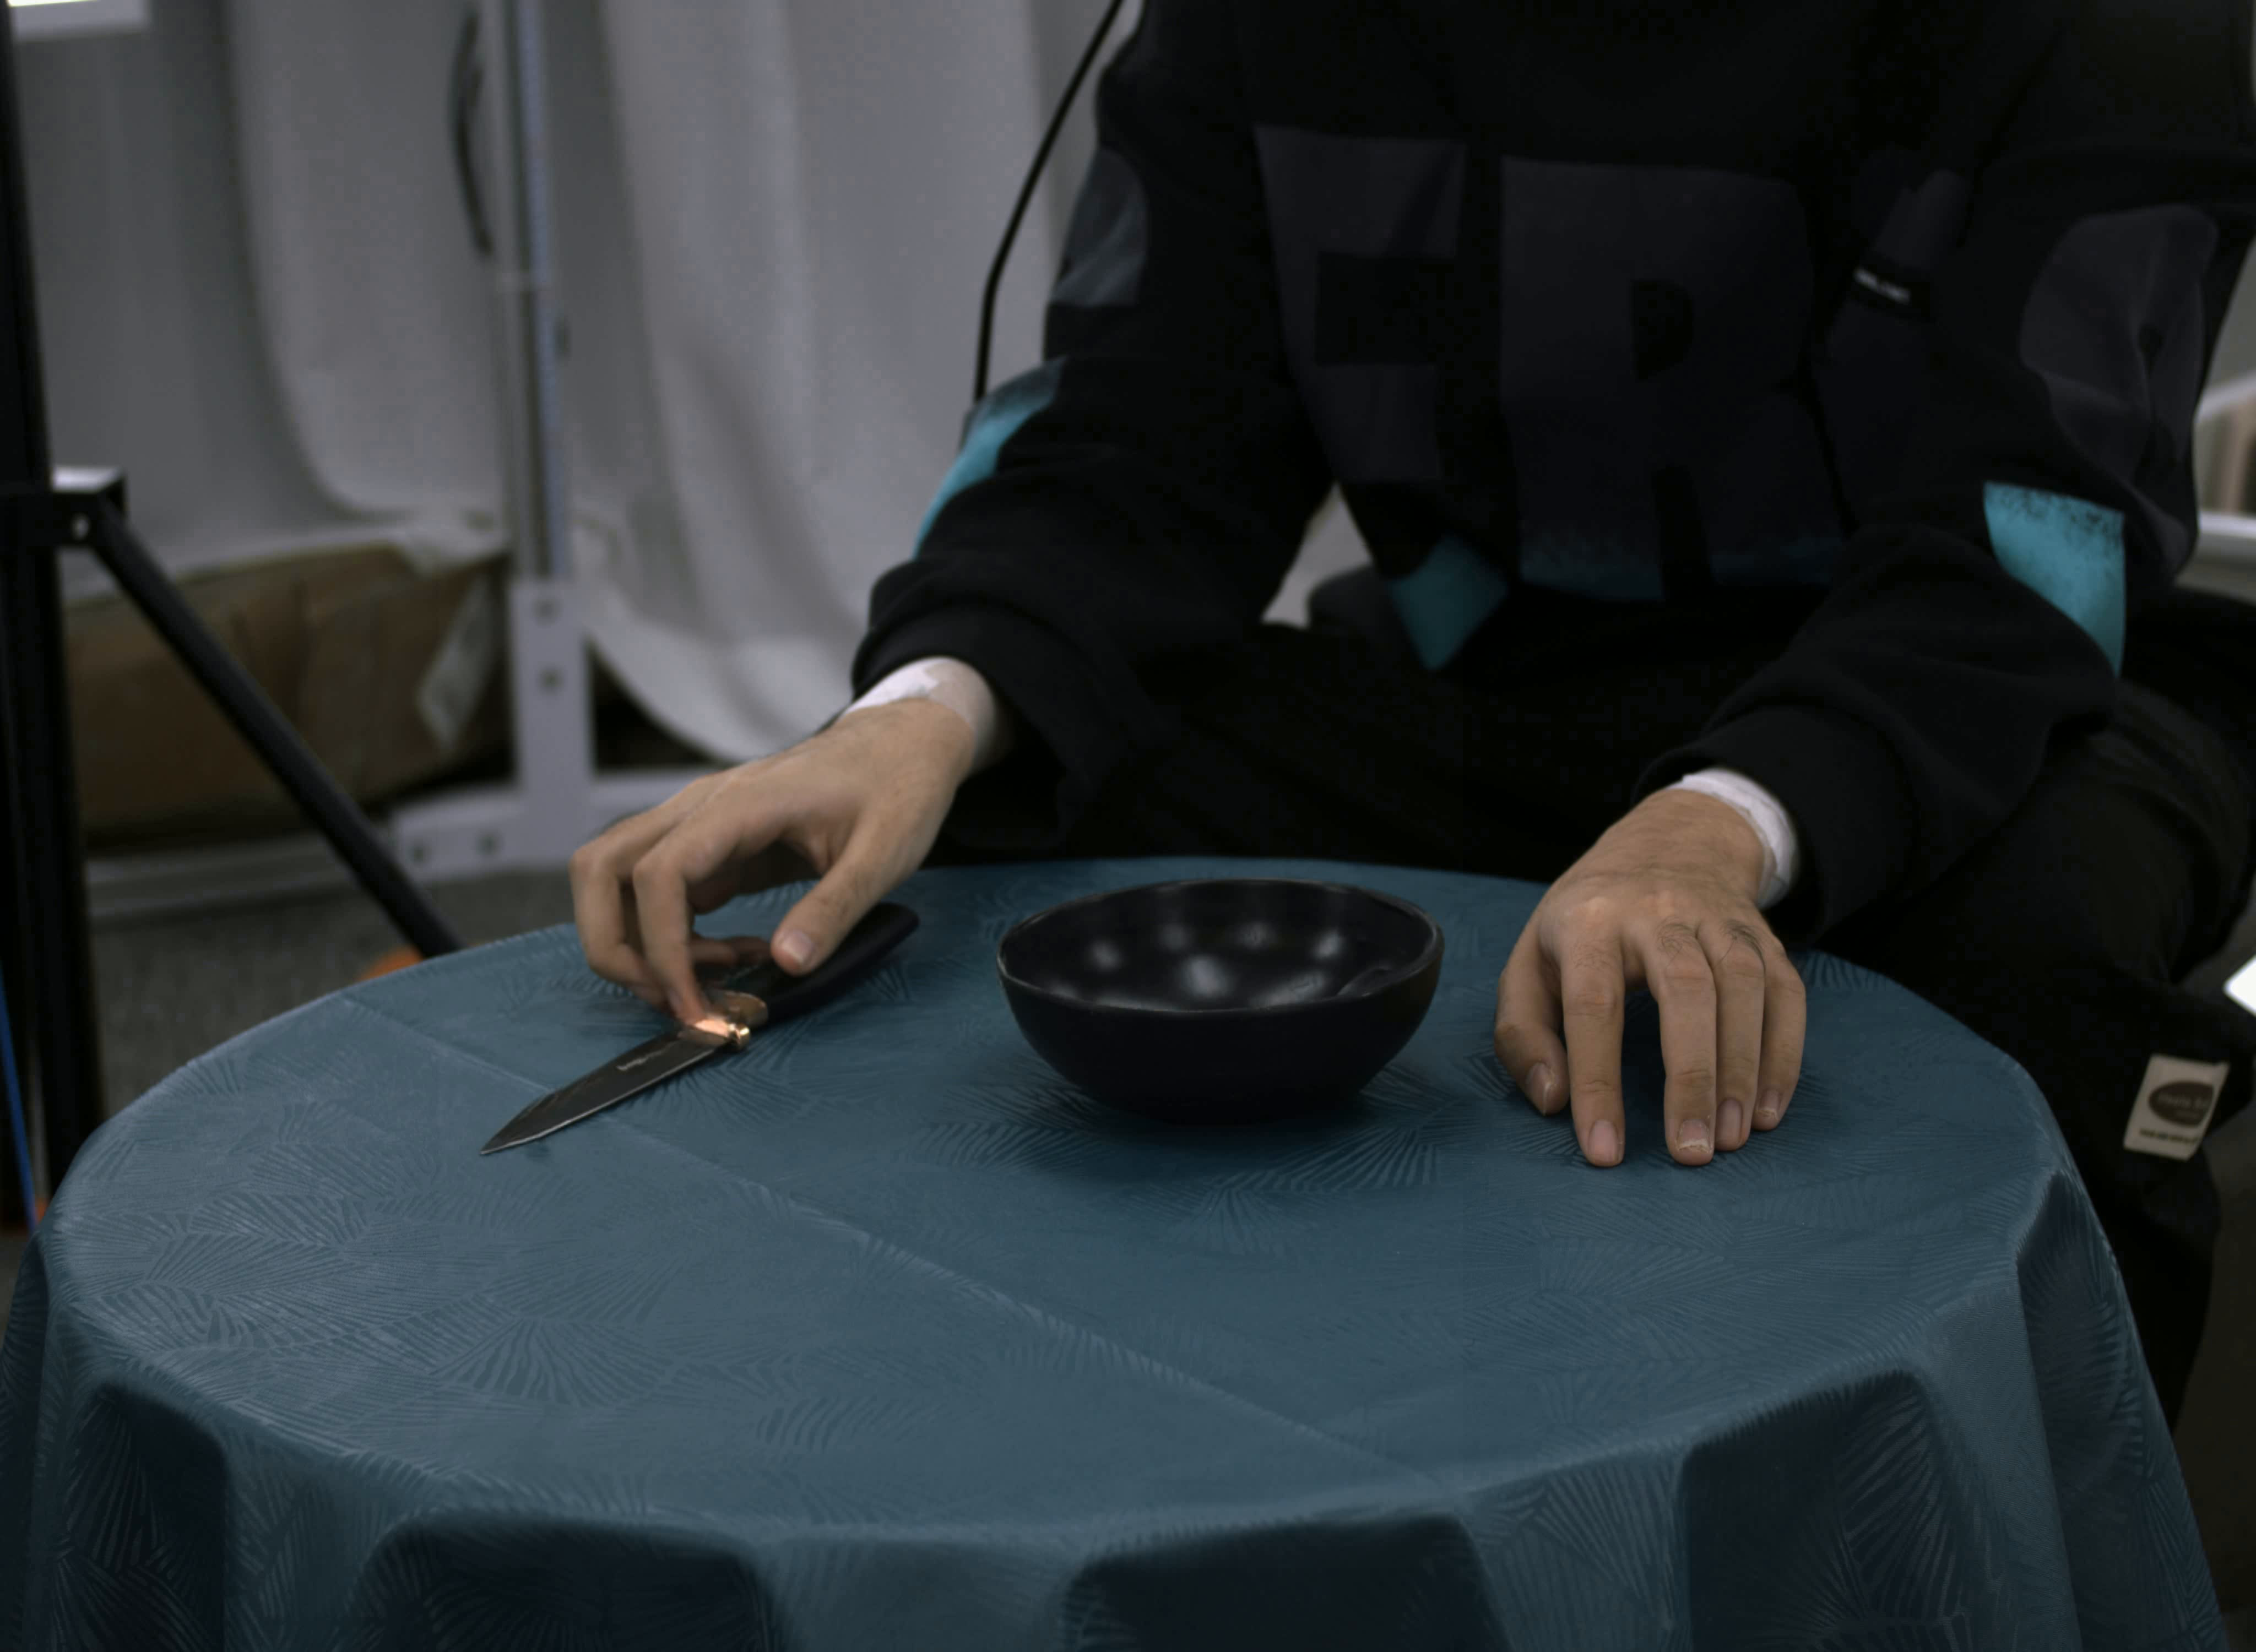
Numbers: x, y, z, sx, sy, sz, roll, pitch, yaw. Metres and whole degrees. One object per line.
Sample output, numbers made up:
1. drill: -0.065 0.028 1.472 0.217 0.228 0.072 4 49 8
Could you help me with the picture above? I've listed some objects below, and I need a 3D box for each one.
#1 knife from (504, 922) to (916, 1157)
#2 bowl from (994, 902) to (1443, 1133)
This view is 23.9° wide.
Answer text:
1. knife: -0.134 0.068 1.701 0.027 0.017 0.221 10 21 31
2. bowl: 0.029 0.062 1.635 0.139 0.050 0.140 -3 11 -1
